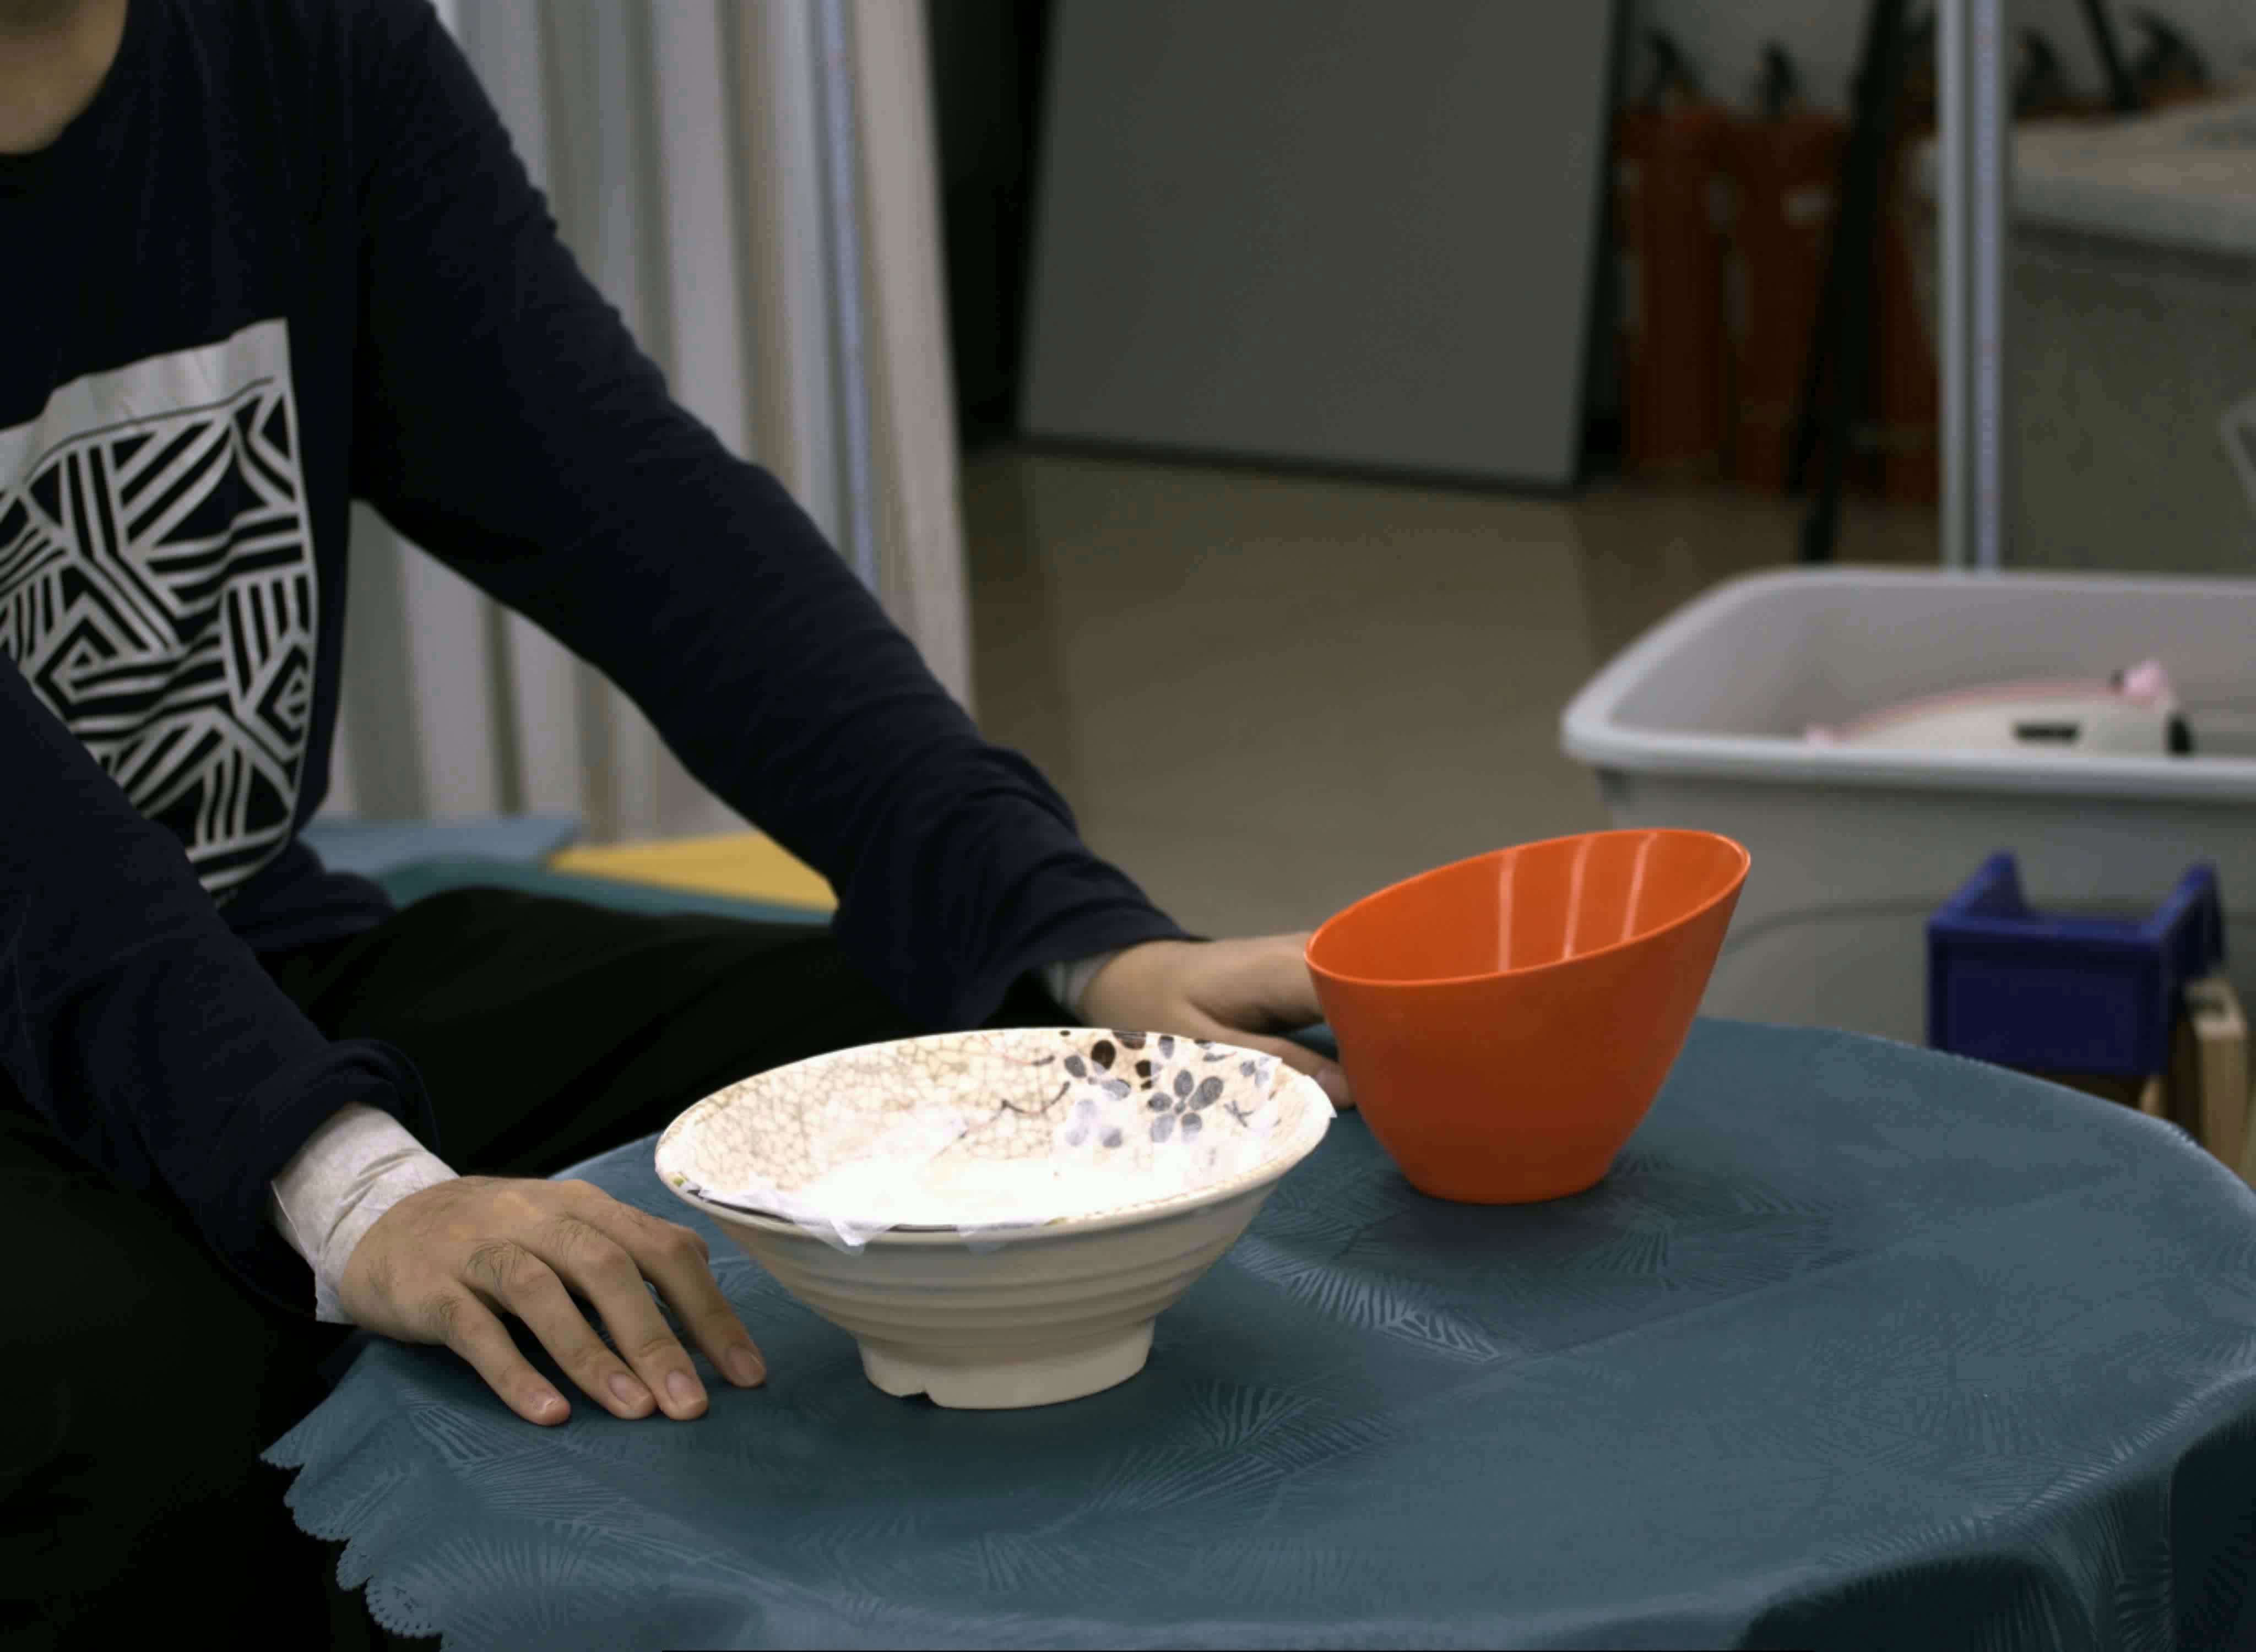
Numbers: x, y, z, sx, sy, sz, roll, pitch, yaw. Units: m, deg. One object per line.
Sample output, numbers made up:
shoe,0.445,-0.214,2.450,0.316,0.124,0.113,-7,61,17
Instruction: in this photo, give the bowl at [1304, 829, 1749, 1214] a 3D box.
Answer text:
bowl,0.132,0.066,1.751,0.146,0.106,0.148,-6,13,0

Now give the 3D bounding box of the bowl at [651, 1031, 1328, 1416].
bowl,-0.039,0.125,1.609,0.201,0.079,0.204,-4,13,0
